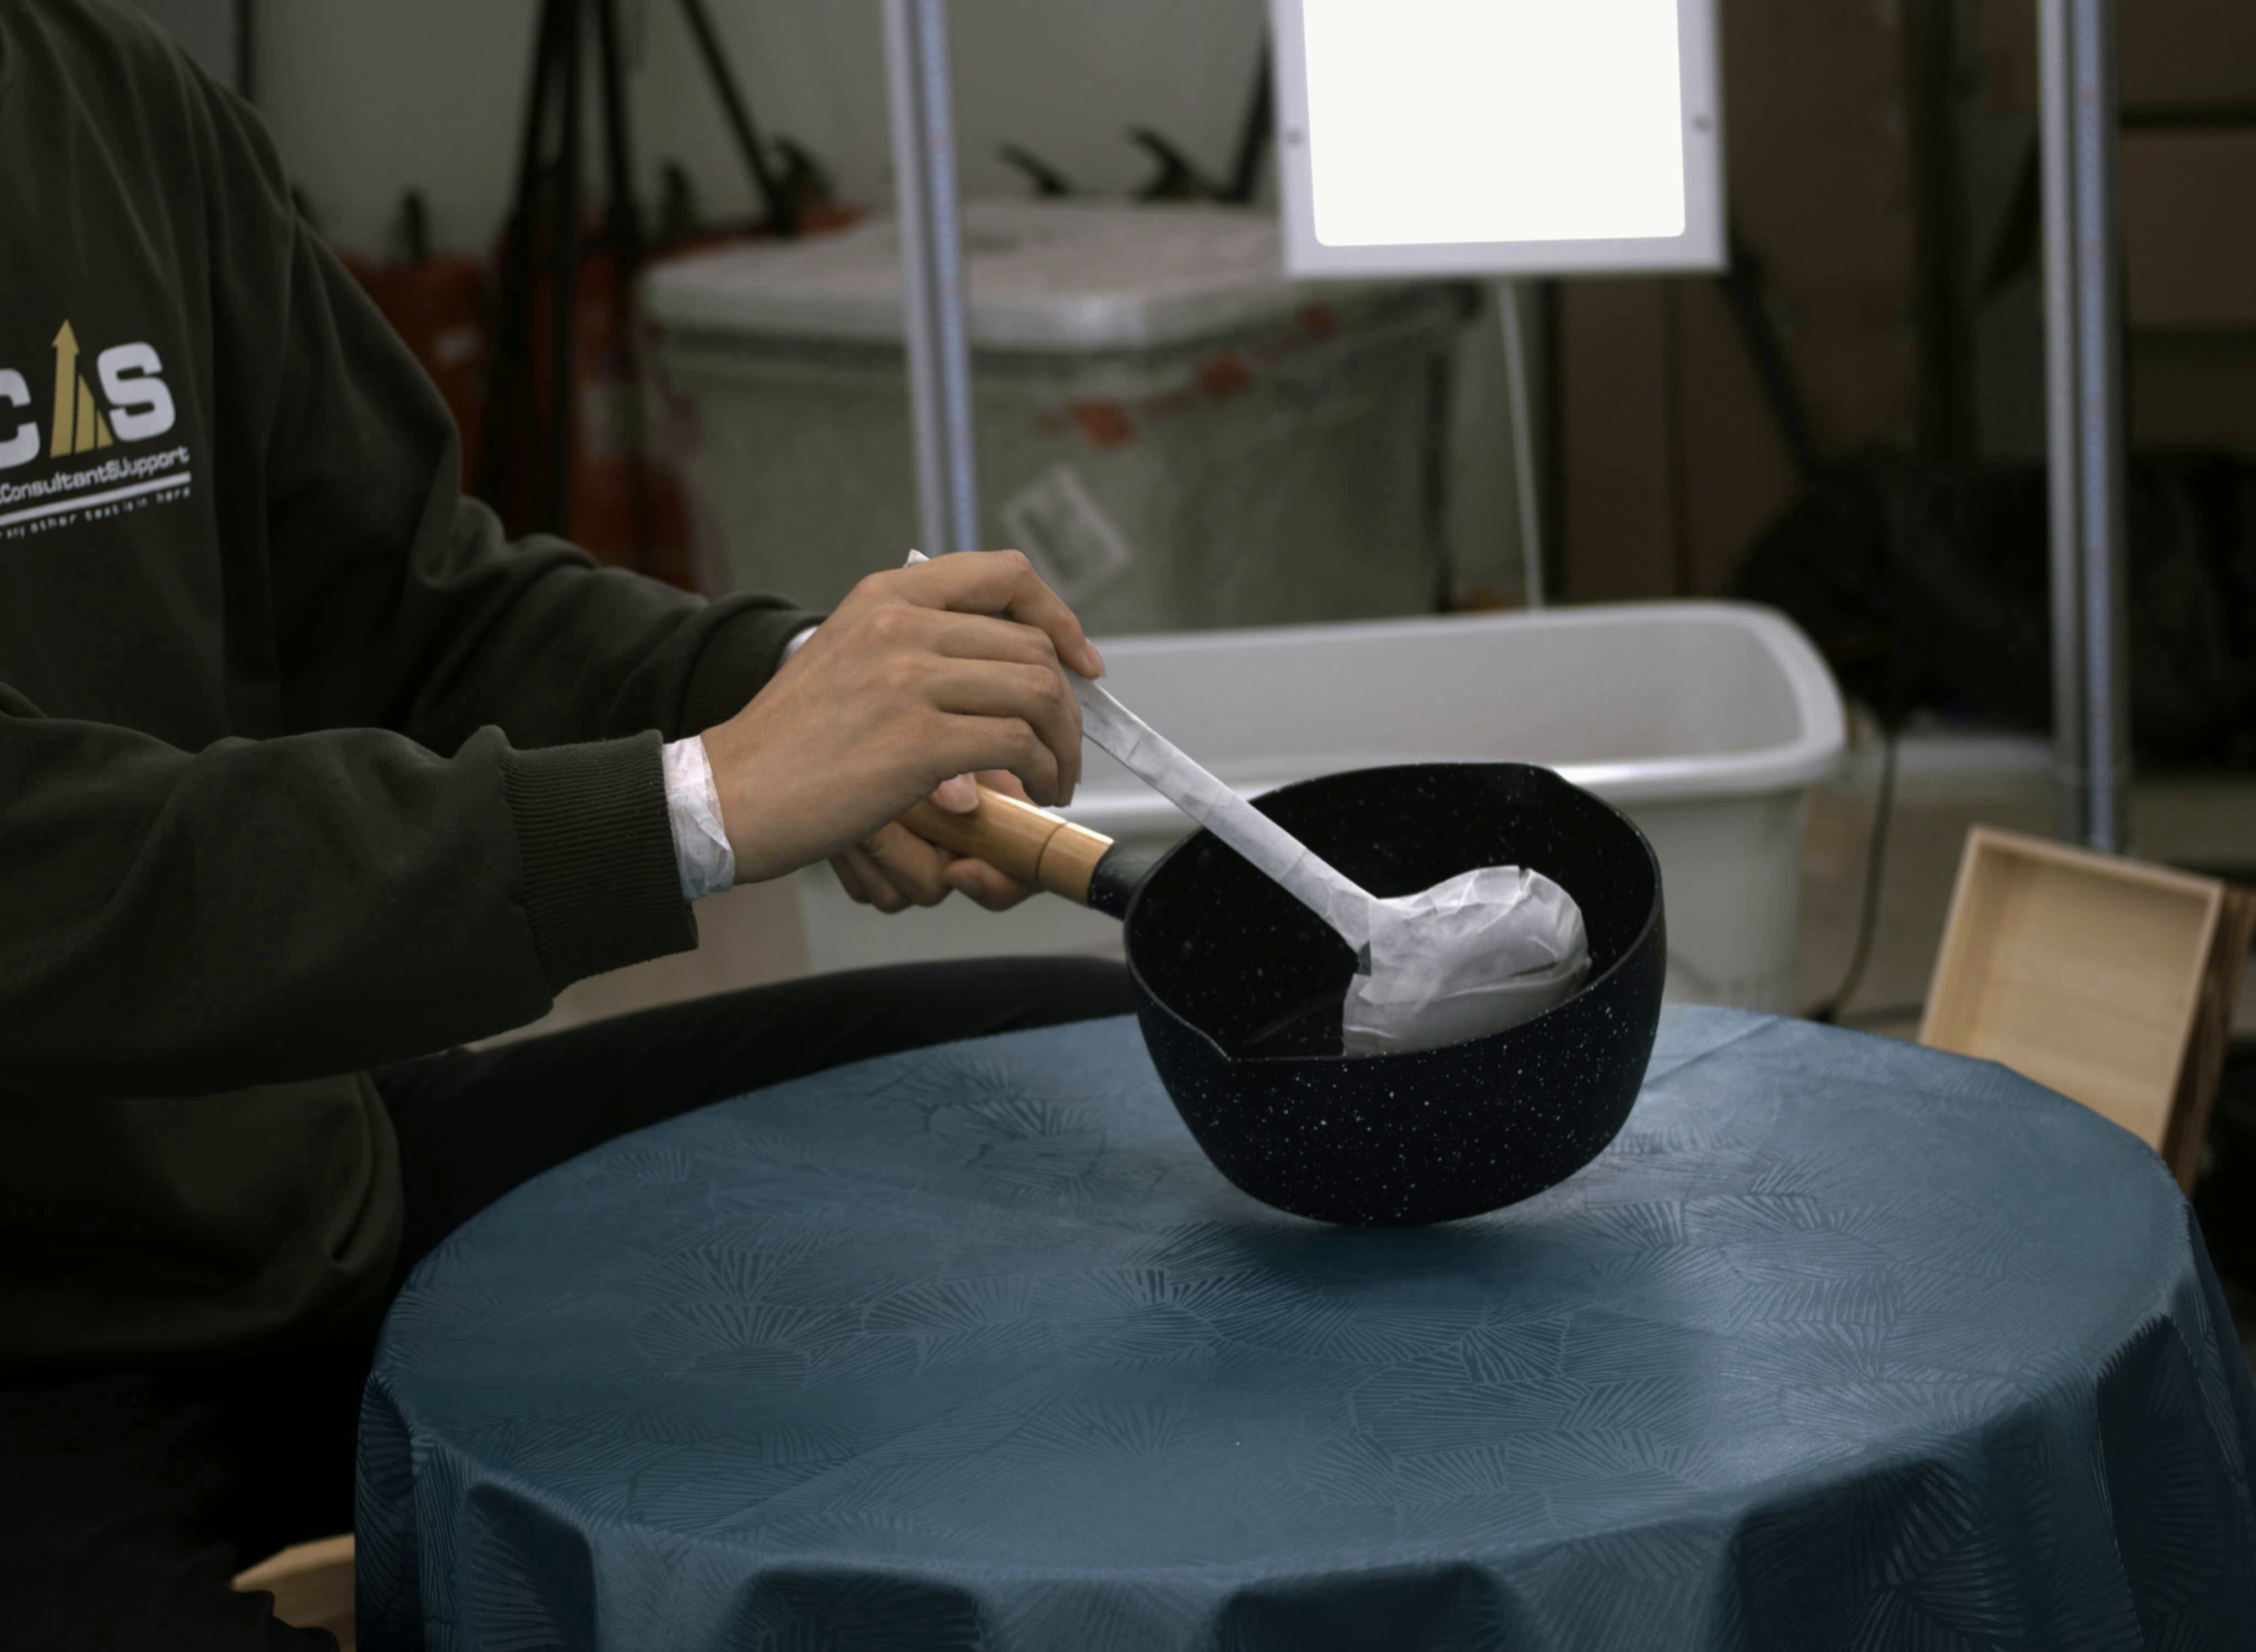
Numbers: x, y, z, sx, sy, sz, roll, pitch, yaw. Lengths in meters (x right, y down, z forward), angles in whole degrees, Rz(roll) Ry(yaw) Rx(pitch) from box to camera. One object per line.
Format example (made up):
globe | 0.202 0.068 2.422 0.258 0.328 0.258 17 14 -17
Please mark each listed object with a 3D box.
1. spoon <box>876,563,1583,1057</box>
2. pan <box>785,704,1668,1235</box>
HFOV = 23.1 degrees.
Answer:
spoon | 0.029 -0.003 1.826 0.276 0.101 0.059 35 9 -3
pan | 0.026 0.038 1.916 0.349 0.108 0.203 13 39 31
